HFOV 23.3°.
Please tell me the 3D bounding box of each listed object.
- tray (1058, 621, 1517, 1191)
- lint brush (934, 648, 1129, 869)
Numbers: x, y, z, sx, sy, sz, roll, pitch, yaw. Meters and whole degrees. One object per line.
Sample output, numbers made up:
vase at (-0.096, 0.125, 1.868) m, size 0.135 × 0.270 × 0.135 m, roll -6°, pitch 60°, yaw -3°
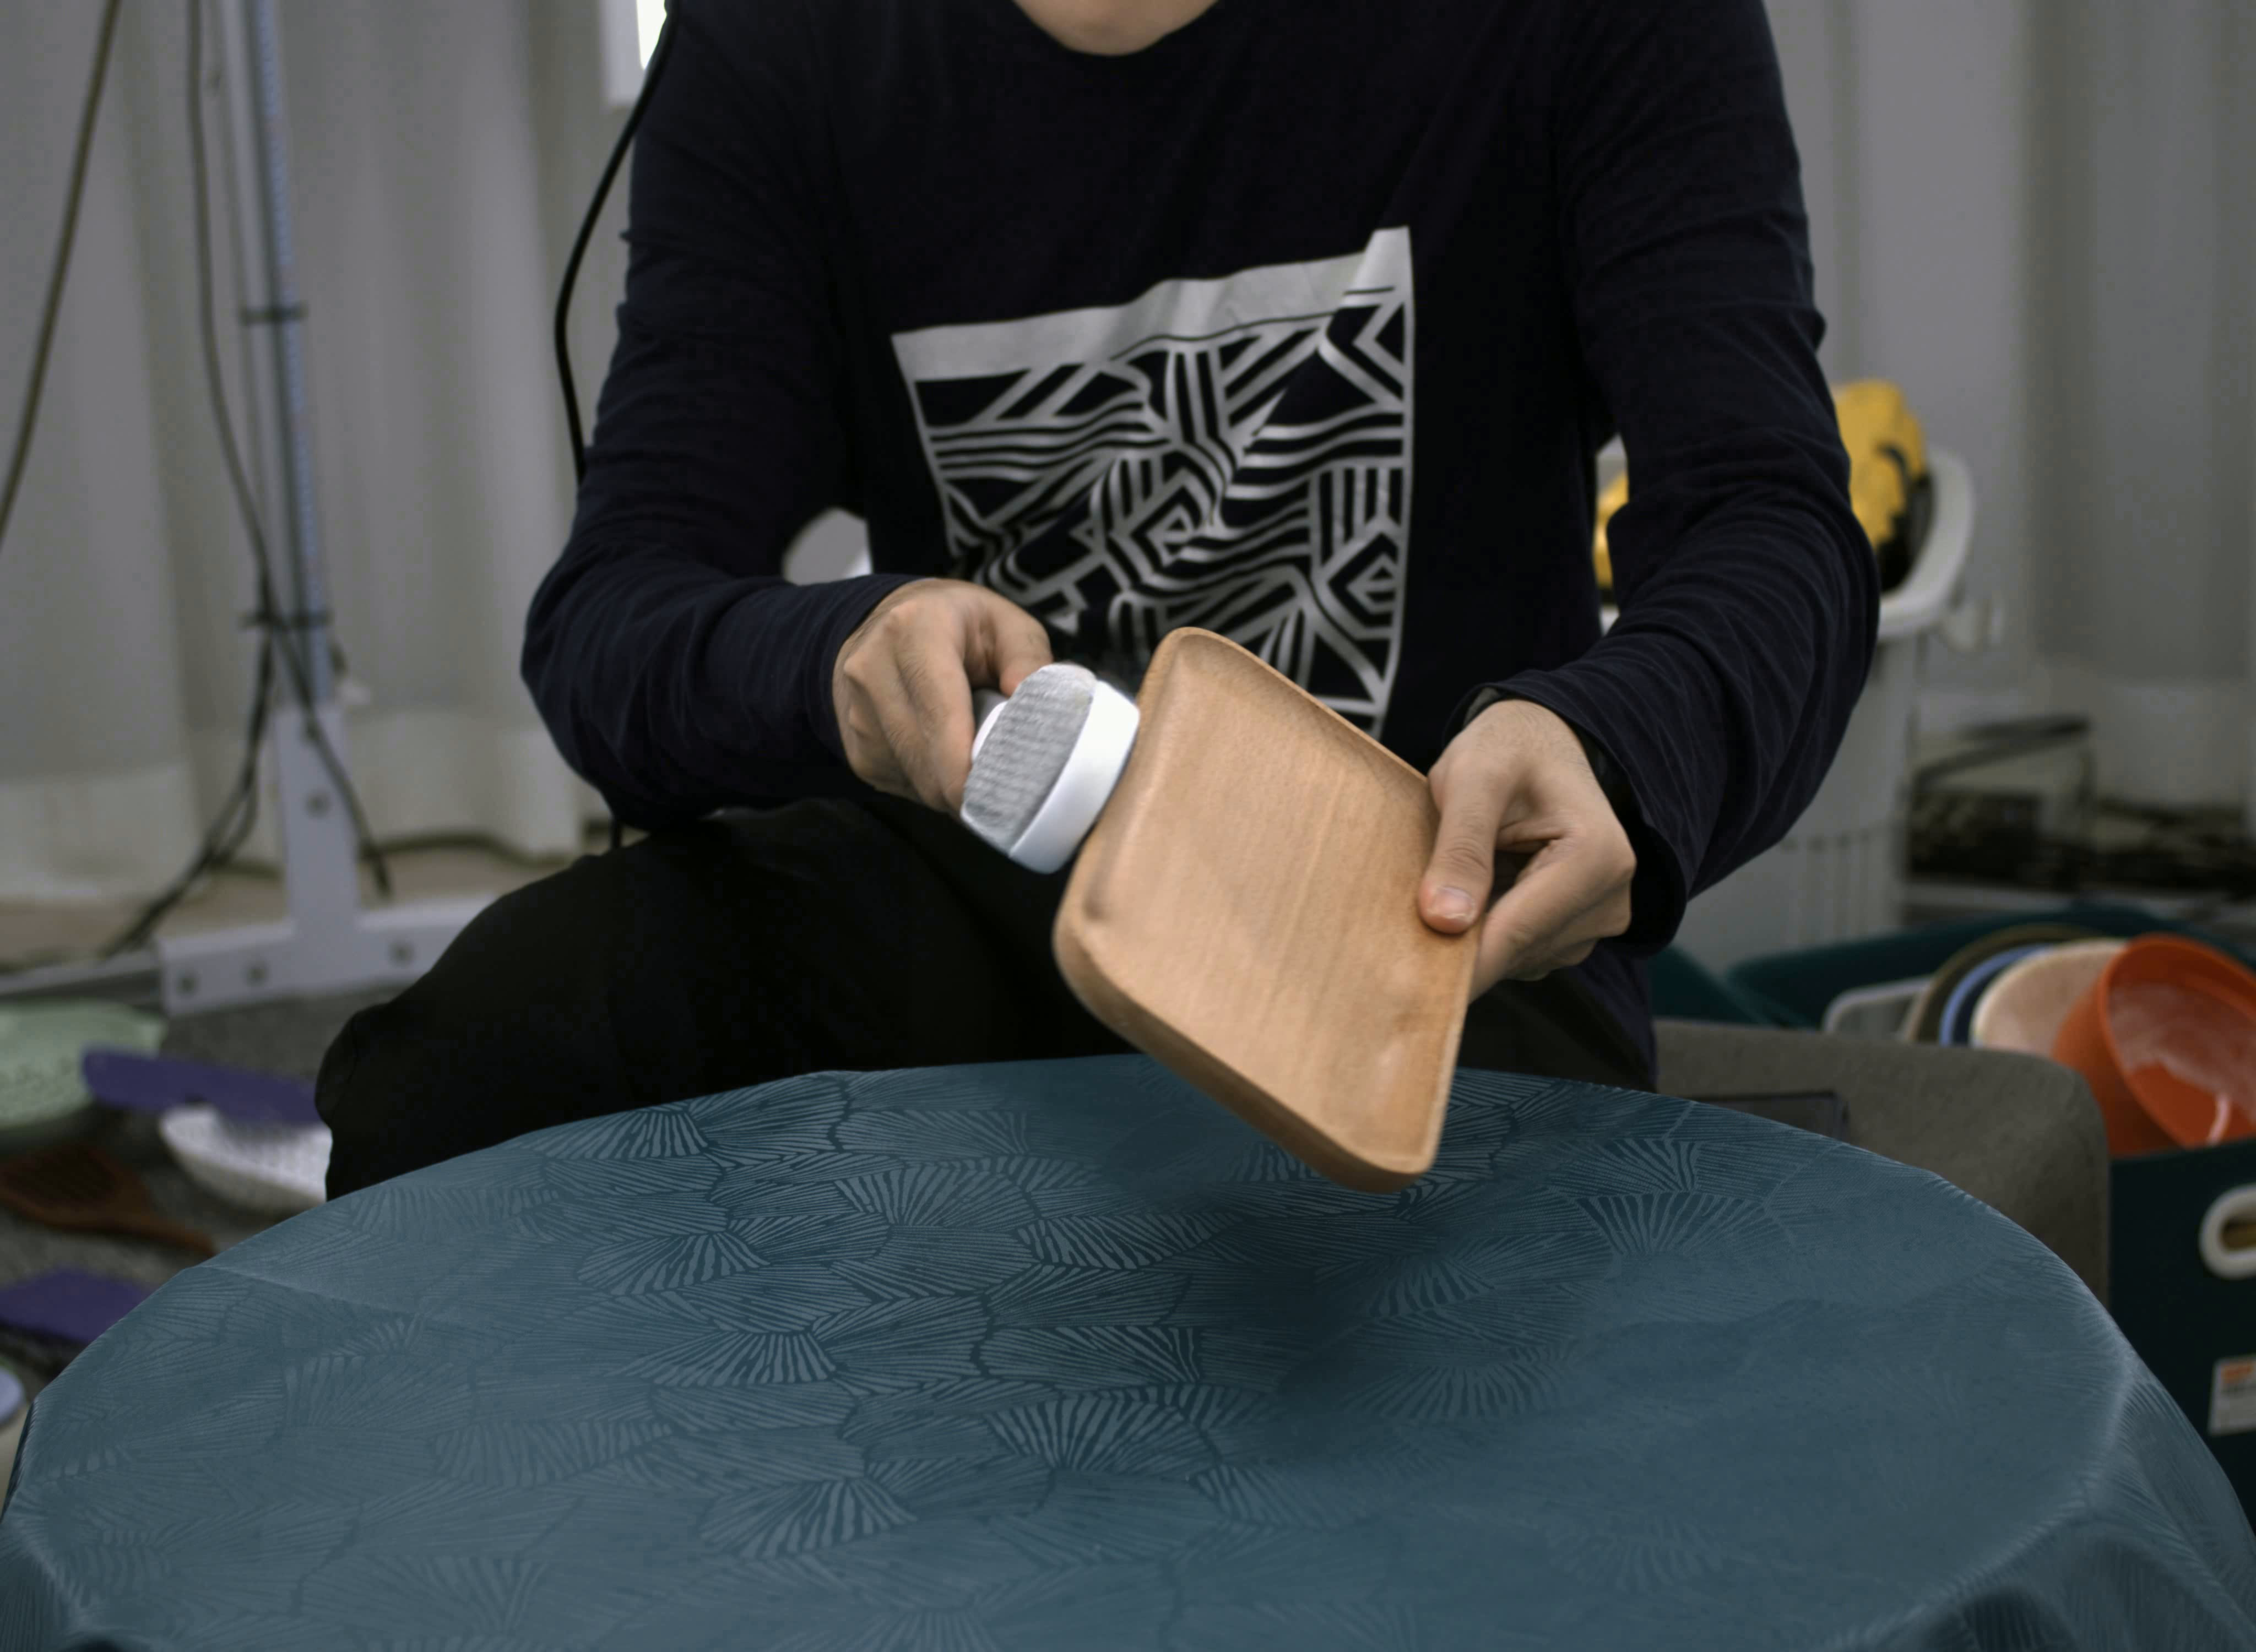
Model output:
tray at (0.049, 0.020, 1.610) m, size 0.130 × 0.023 × 0.253 m, roll 39°, pitch 24°, yaw -6°
lint brush at (-0.034, -0.027, 1.709) m, size 0.021 × 0.060 × 0.310 m, roll 23°, pitch 1°, yaw -9°
